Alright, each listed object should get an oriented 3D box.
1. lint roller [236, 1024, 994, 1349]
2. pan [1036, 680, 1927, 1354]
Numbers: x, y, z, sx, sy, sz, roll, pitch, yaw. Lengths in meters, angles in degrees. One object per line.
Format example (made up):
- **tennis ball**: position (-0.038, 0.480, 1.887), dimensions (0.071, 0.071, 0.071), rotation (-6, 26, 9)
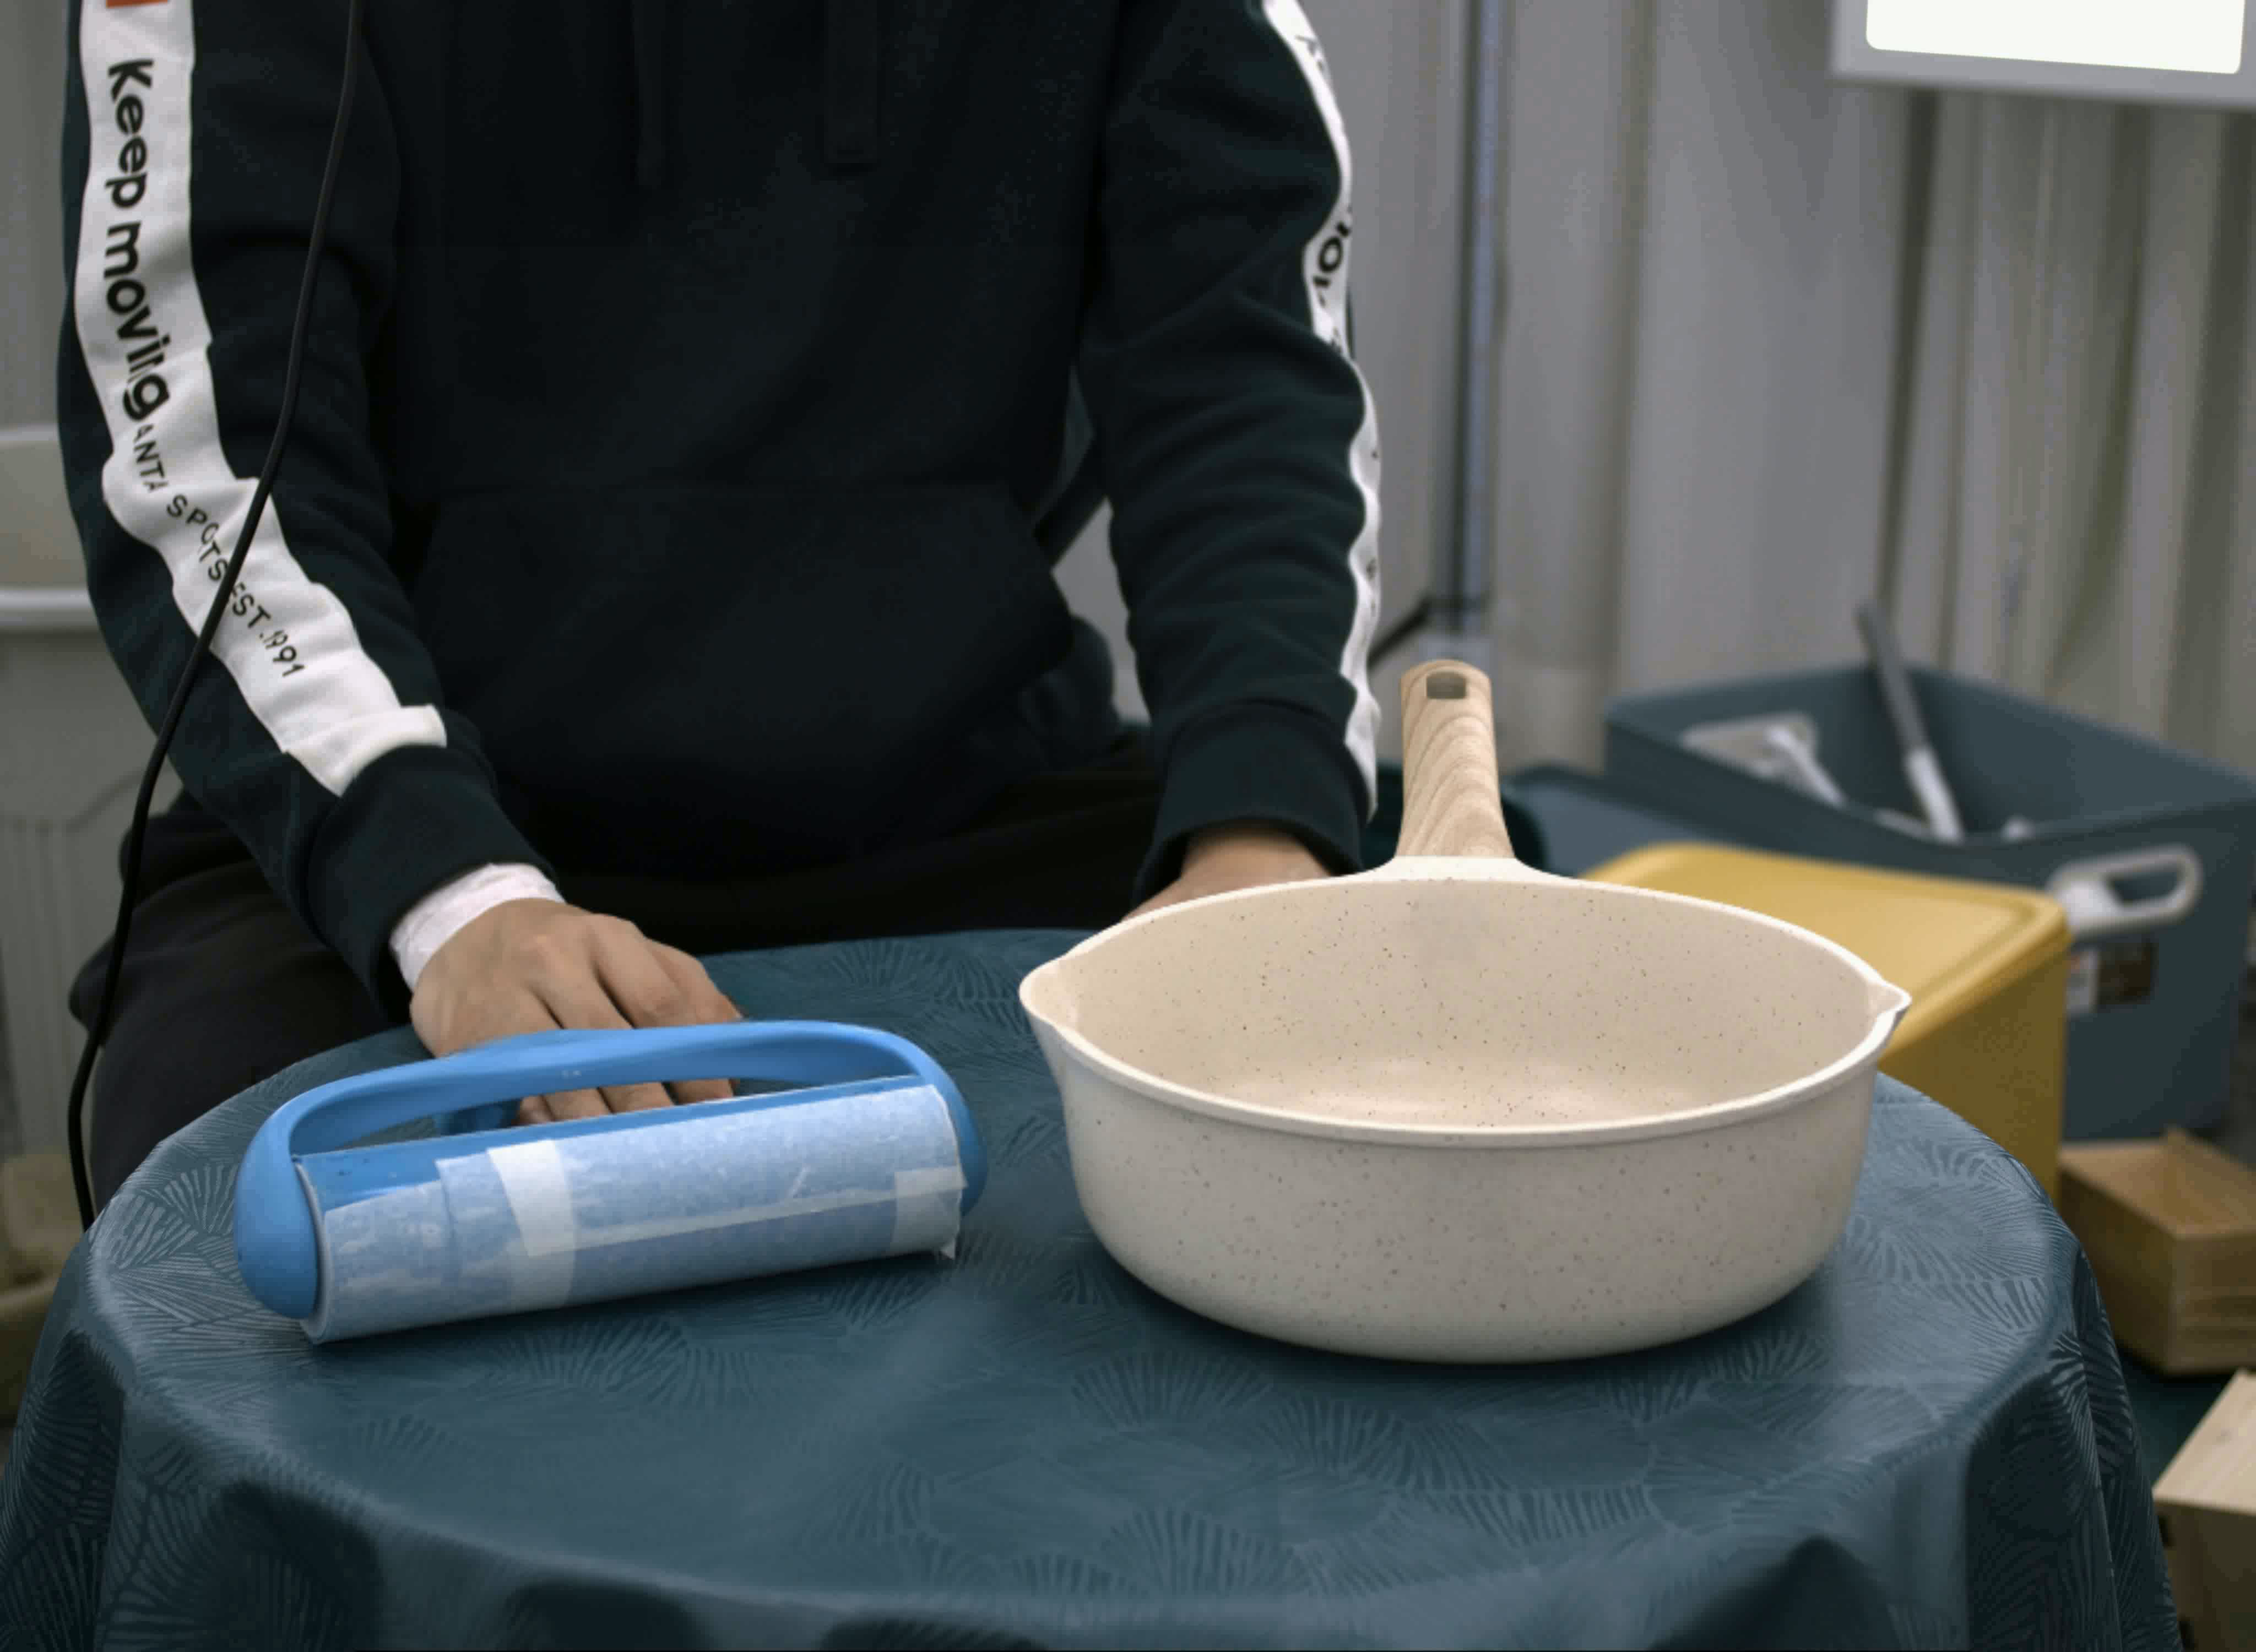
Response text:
- **lint roller**: position (-0.173, 0.094, 1.573), dimensions (0.230, 0.068, 0.178), rotation (-9, 19, -27)
- **pan**: position (0.106, 0.054, 1.643), dimensions (0.262, 0.103, 0.432), rotation (-1, 15, 1)
